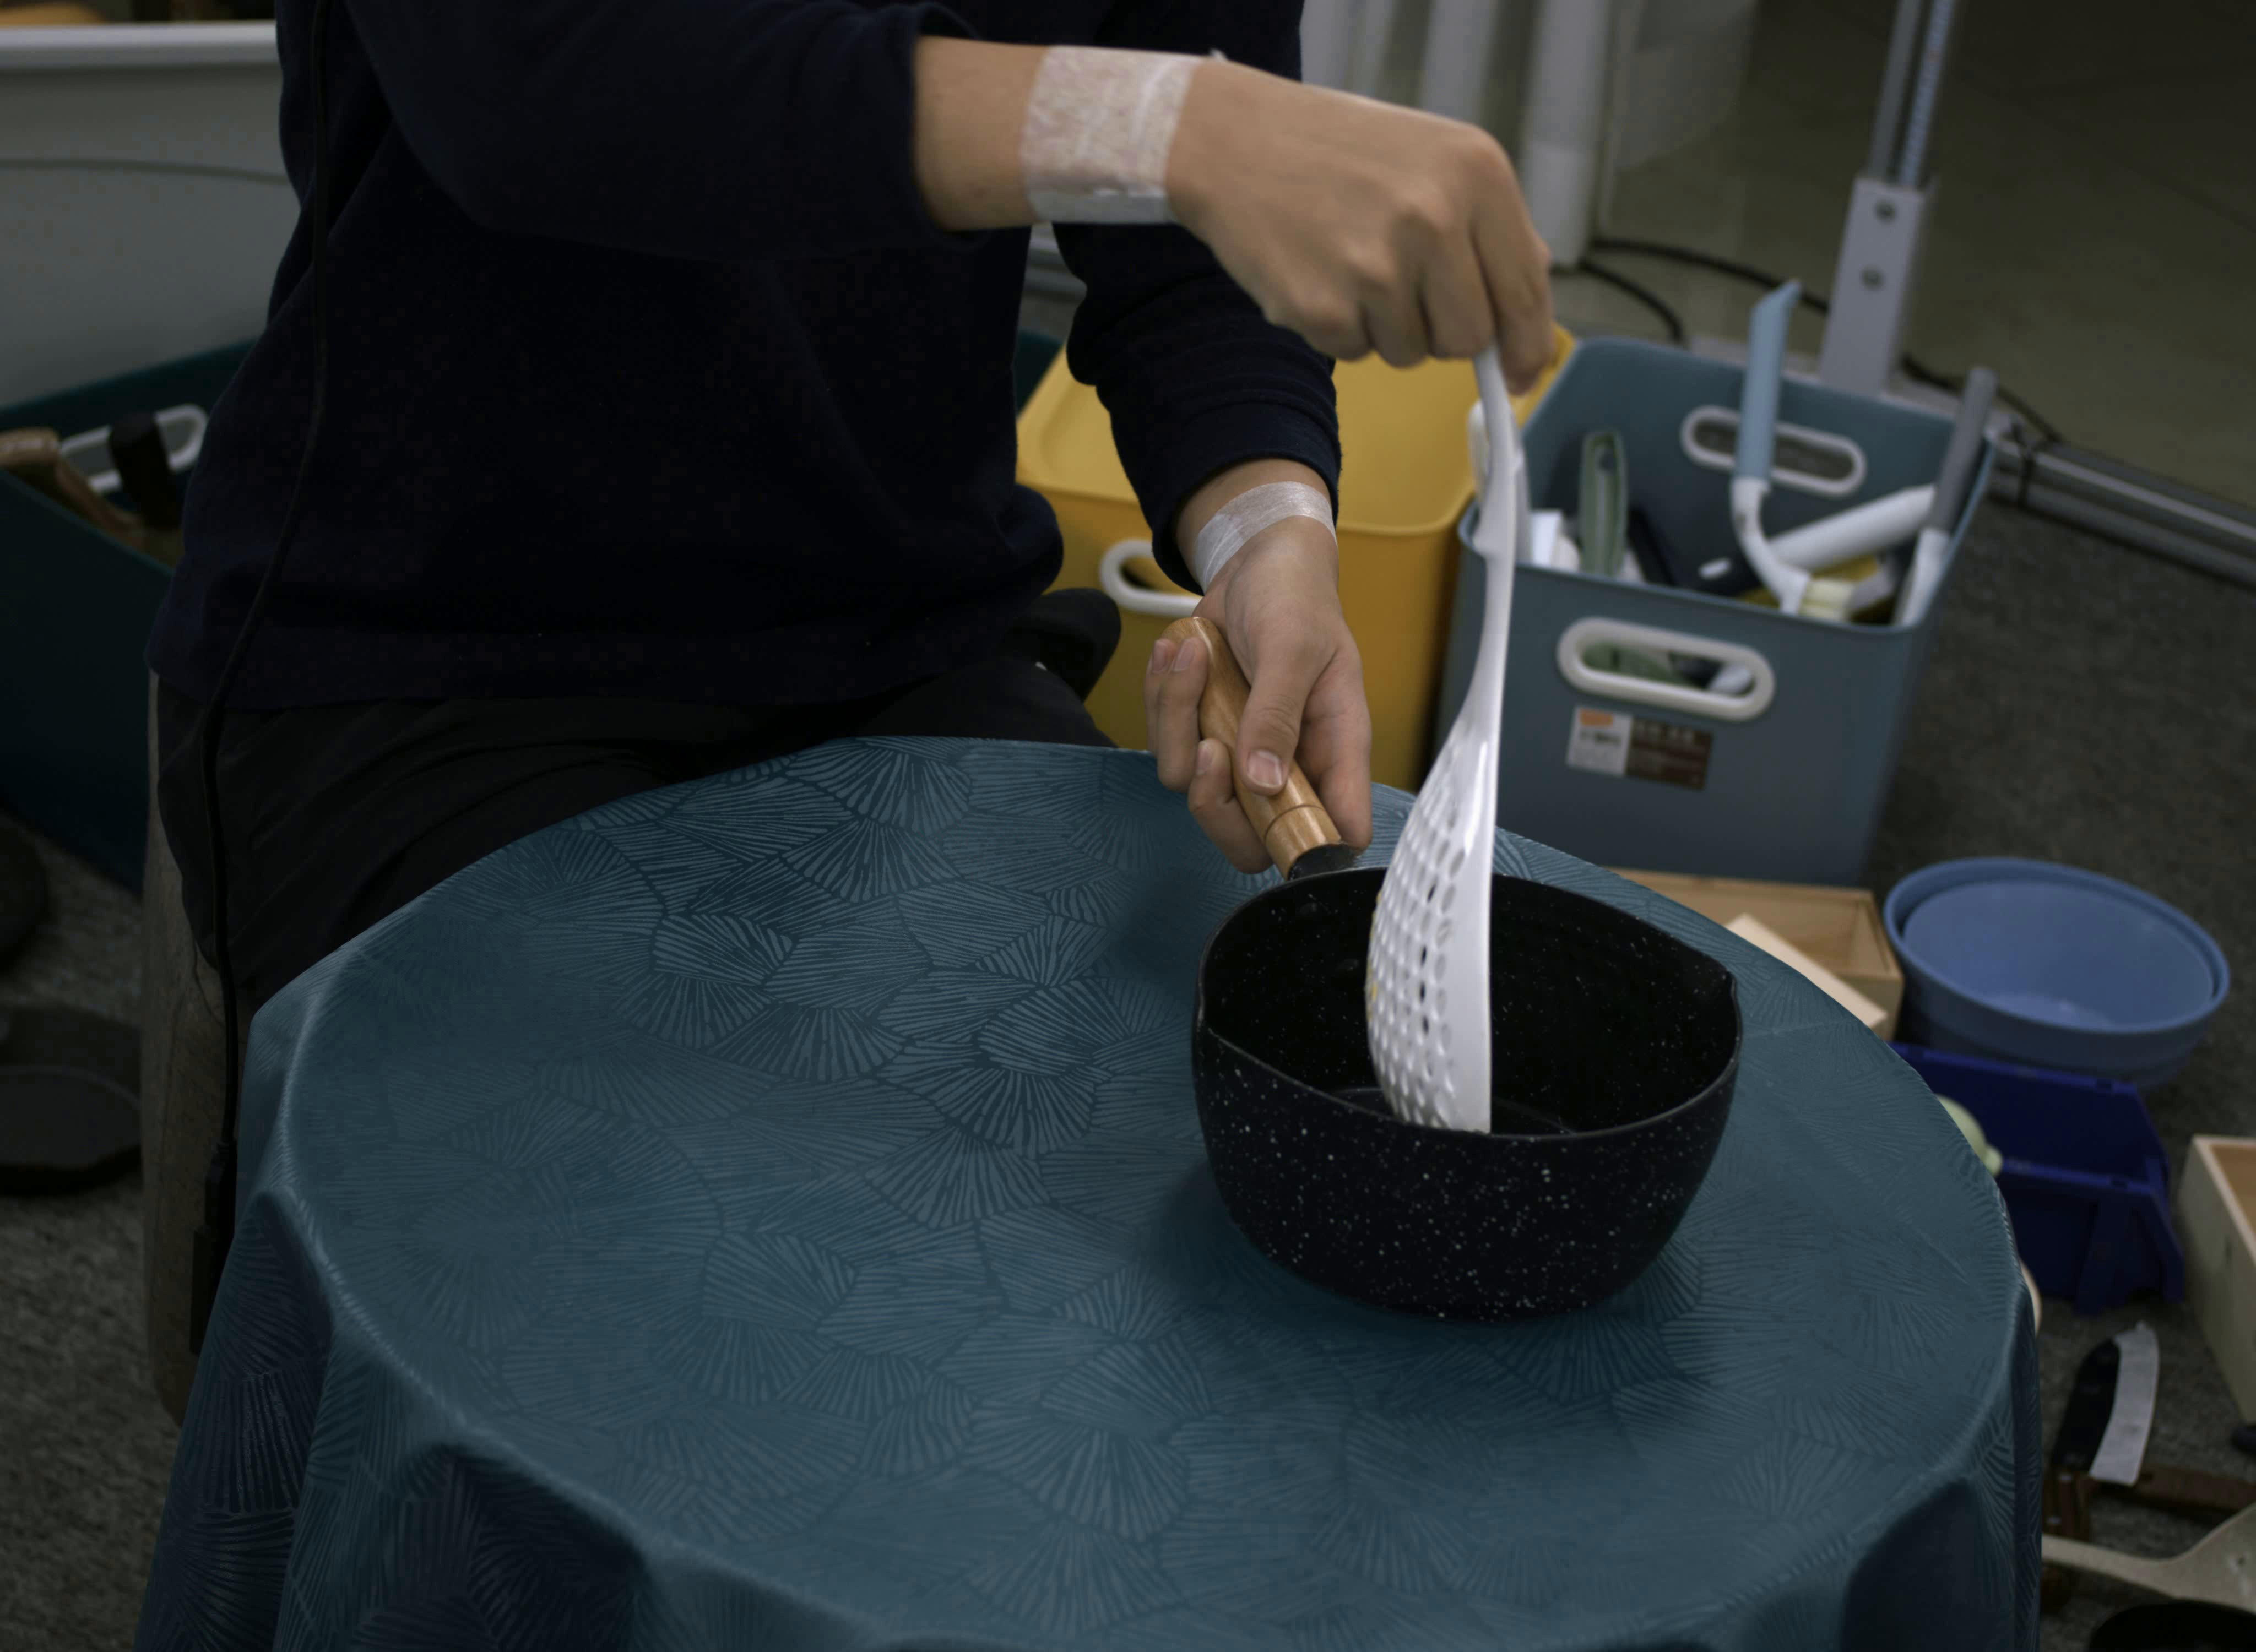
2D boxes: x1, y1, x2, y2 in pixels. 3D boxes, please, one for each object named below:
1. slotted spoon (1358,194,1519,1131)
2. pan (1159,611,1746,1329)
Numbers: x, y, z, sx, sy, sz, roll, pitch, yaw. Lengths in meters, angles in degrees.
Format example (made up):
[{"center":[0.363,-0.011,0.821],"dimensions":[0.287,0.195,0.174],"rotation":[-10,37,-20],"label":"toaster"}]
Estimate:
[{"center":[0.108,-0.040,1.725],"dimensions":[0.050,0.347,0.137],"rotation":[6,25,-3],"label":"slotted spoon"},{"center":[0.079,0.047,1.853],"dimensions":[0.206,0.108,0.346],"rotation":[-7,31,-23],"label":"pan"}]
